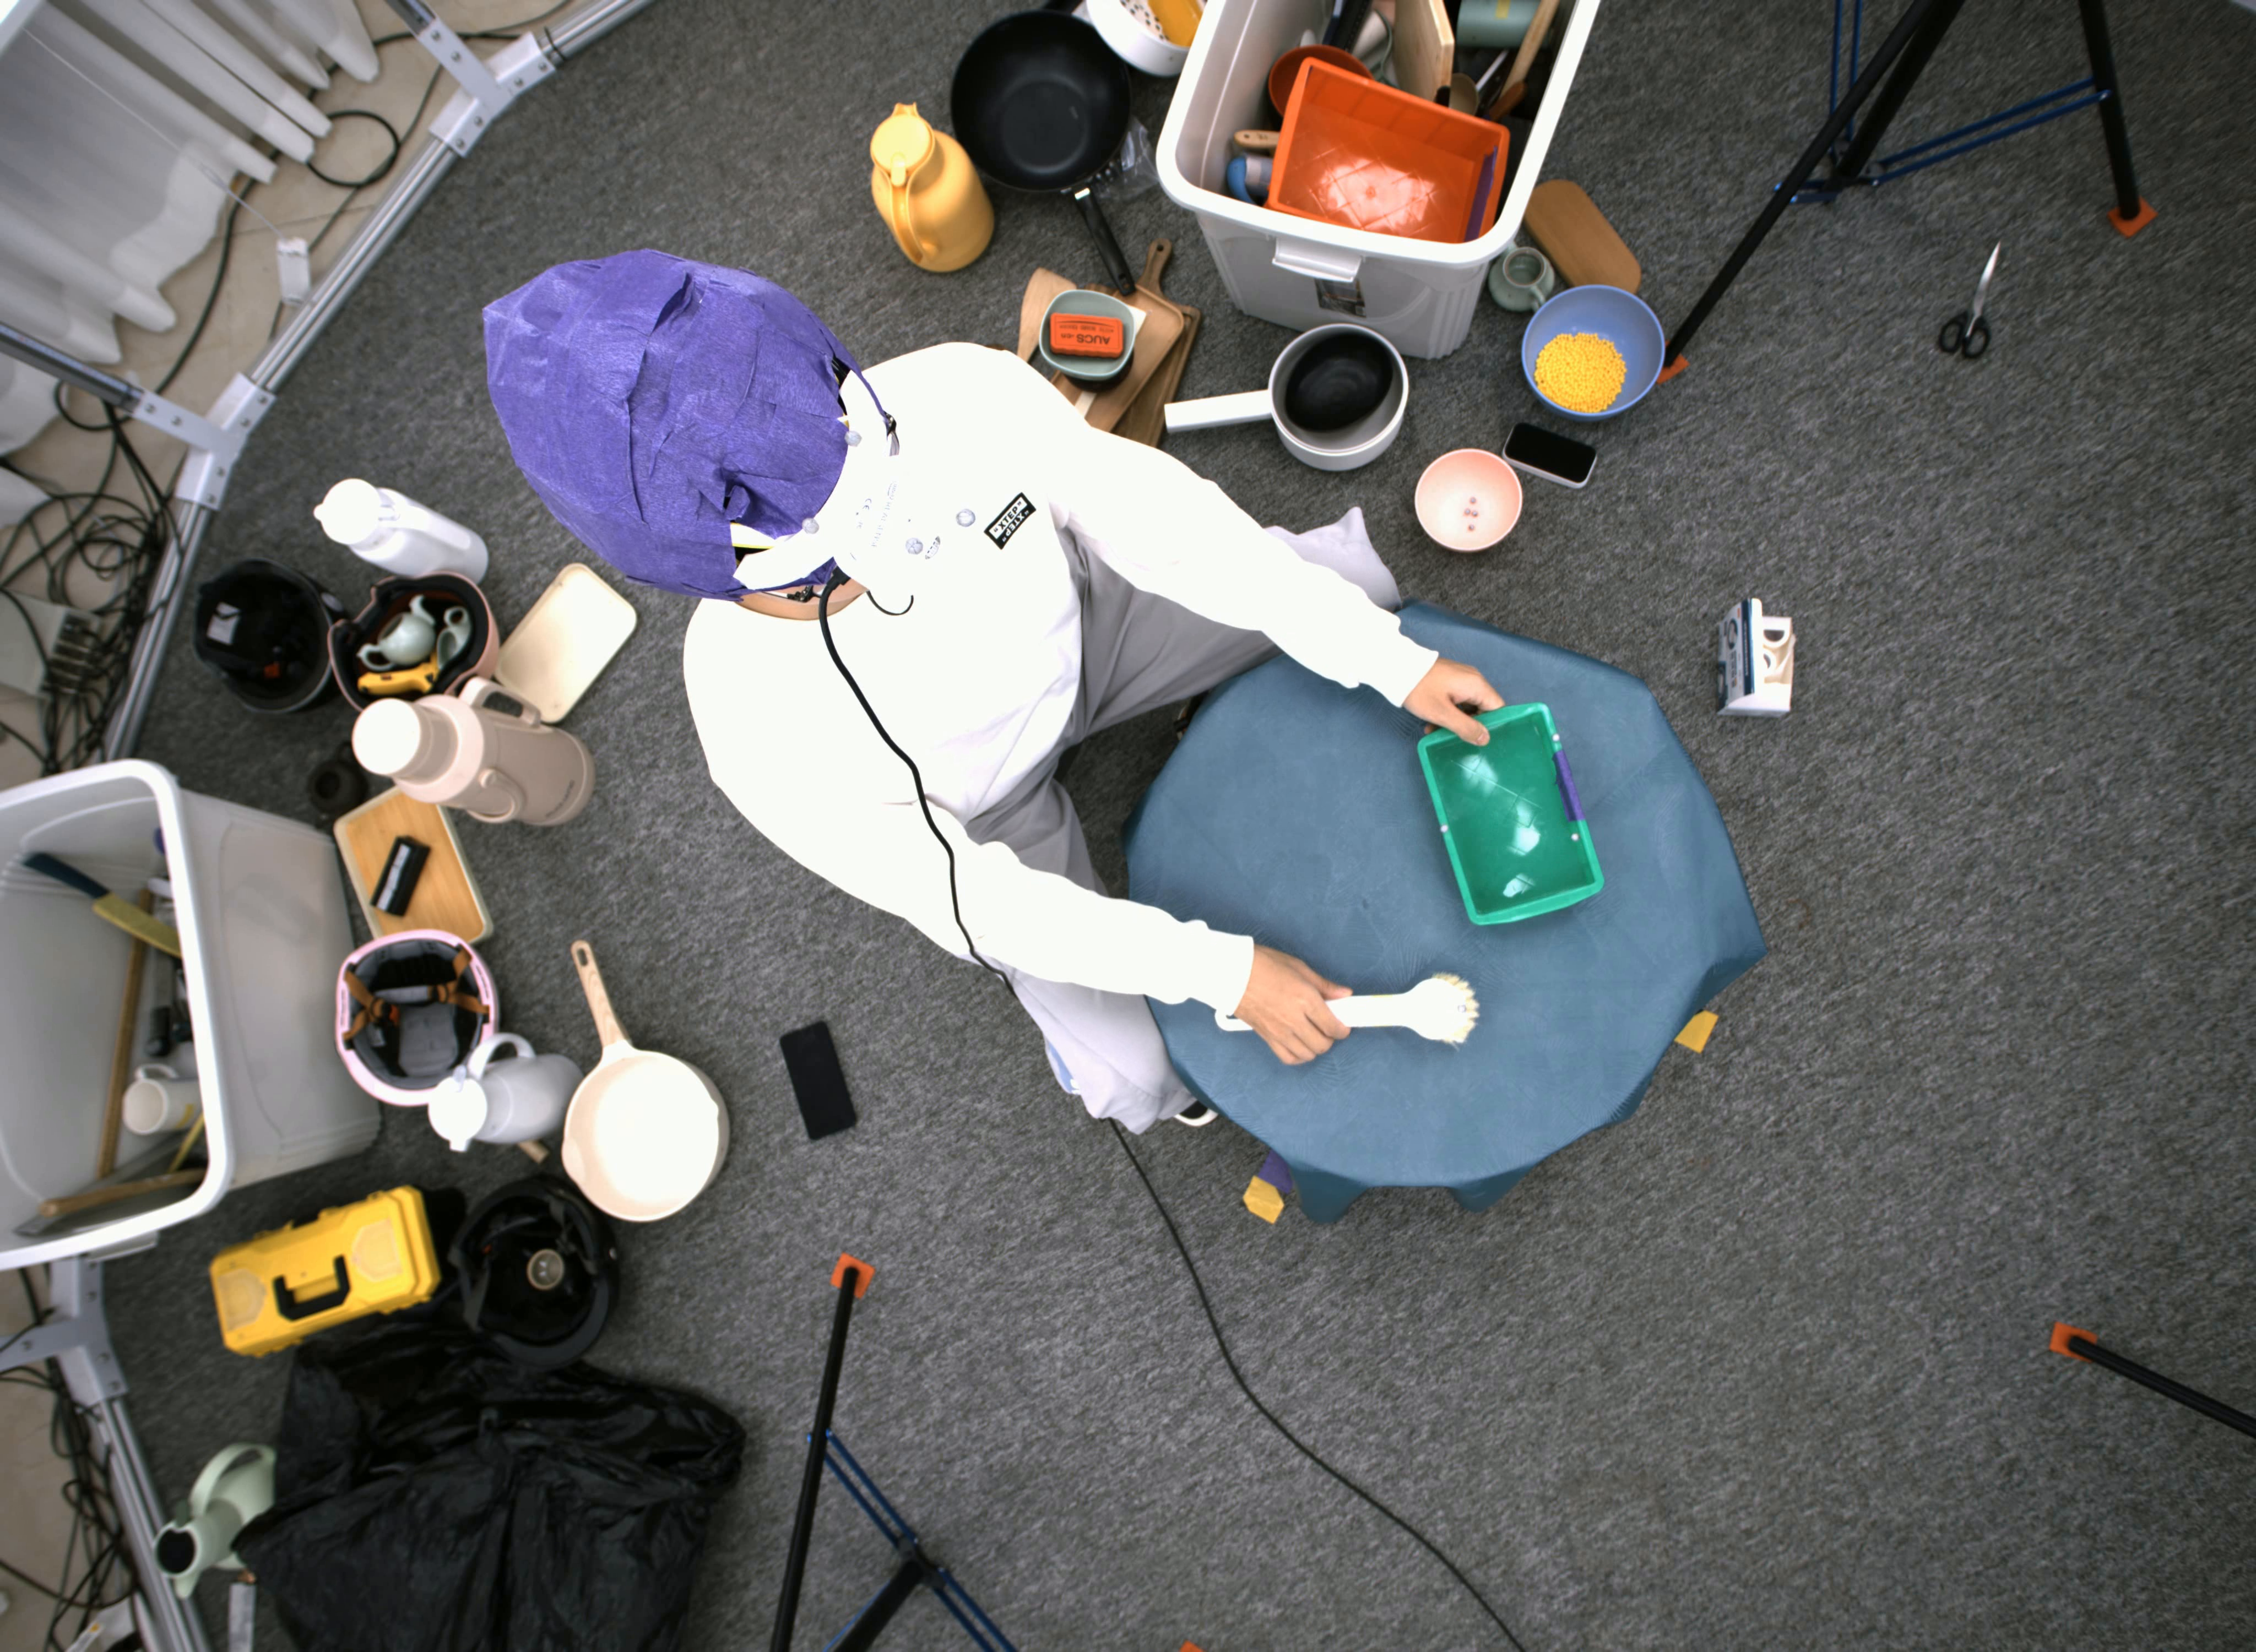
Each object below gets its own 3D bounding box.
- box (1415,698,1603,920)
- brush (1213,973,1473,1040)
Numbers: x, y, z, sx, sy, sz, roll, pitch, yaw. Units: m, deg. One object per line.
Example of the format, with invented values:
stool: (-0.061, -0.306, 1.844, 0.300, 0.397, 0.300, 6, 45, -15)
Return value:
box: (0.387, -0.017, 1.405, 0.139, 0.065, 0.209, -18, 84, 11)
brush: (0.222, 0.187, 1.434, 0.269, 0.056, 0.067, -6, 73, 23)
